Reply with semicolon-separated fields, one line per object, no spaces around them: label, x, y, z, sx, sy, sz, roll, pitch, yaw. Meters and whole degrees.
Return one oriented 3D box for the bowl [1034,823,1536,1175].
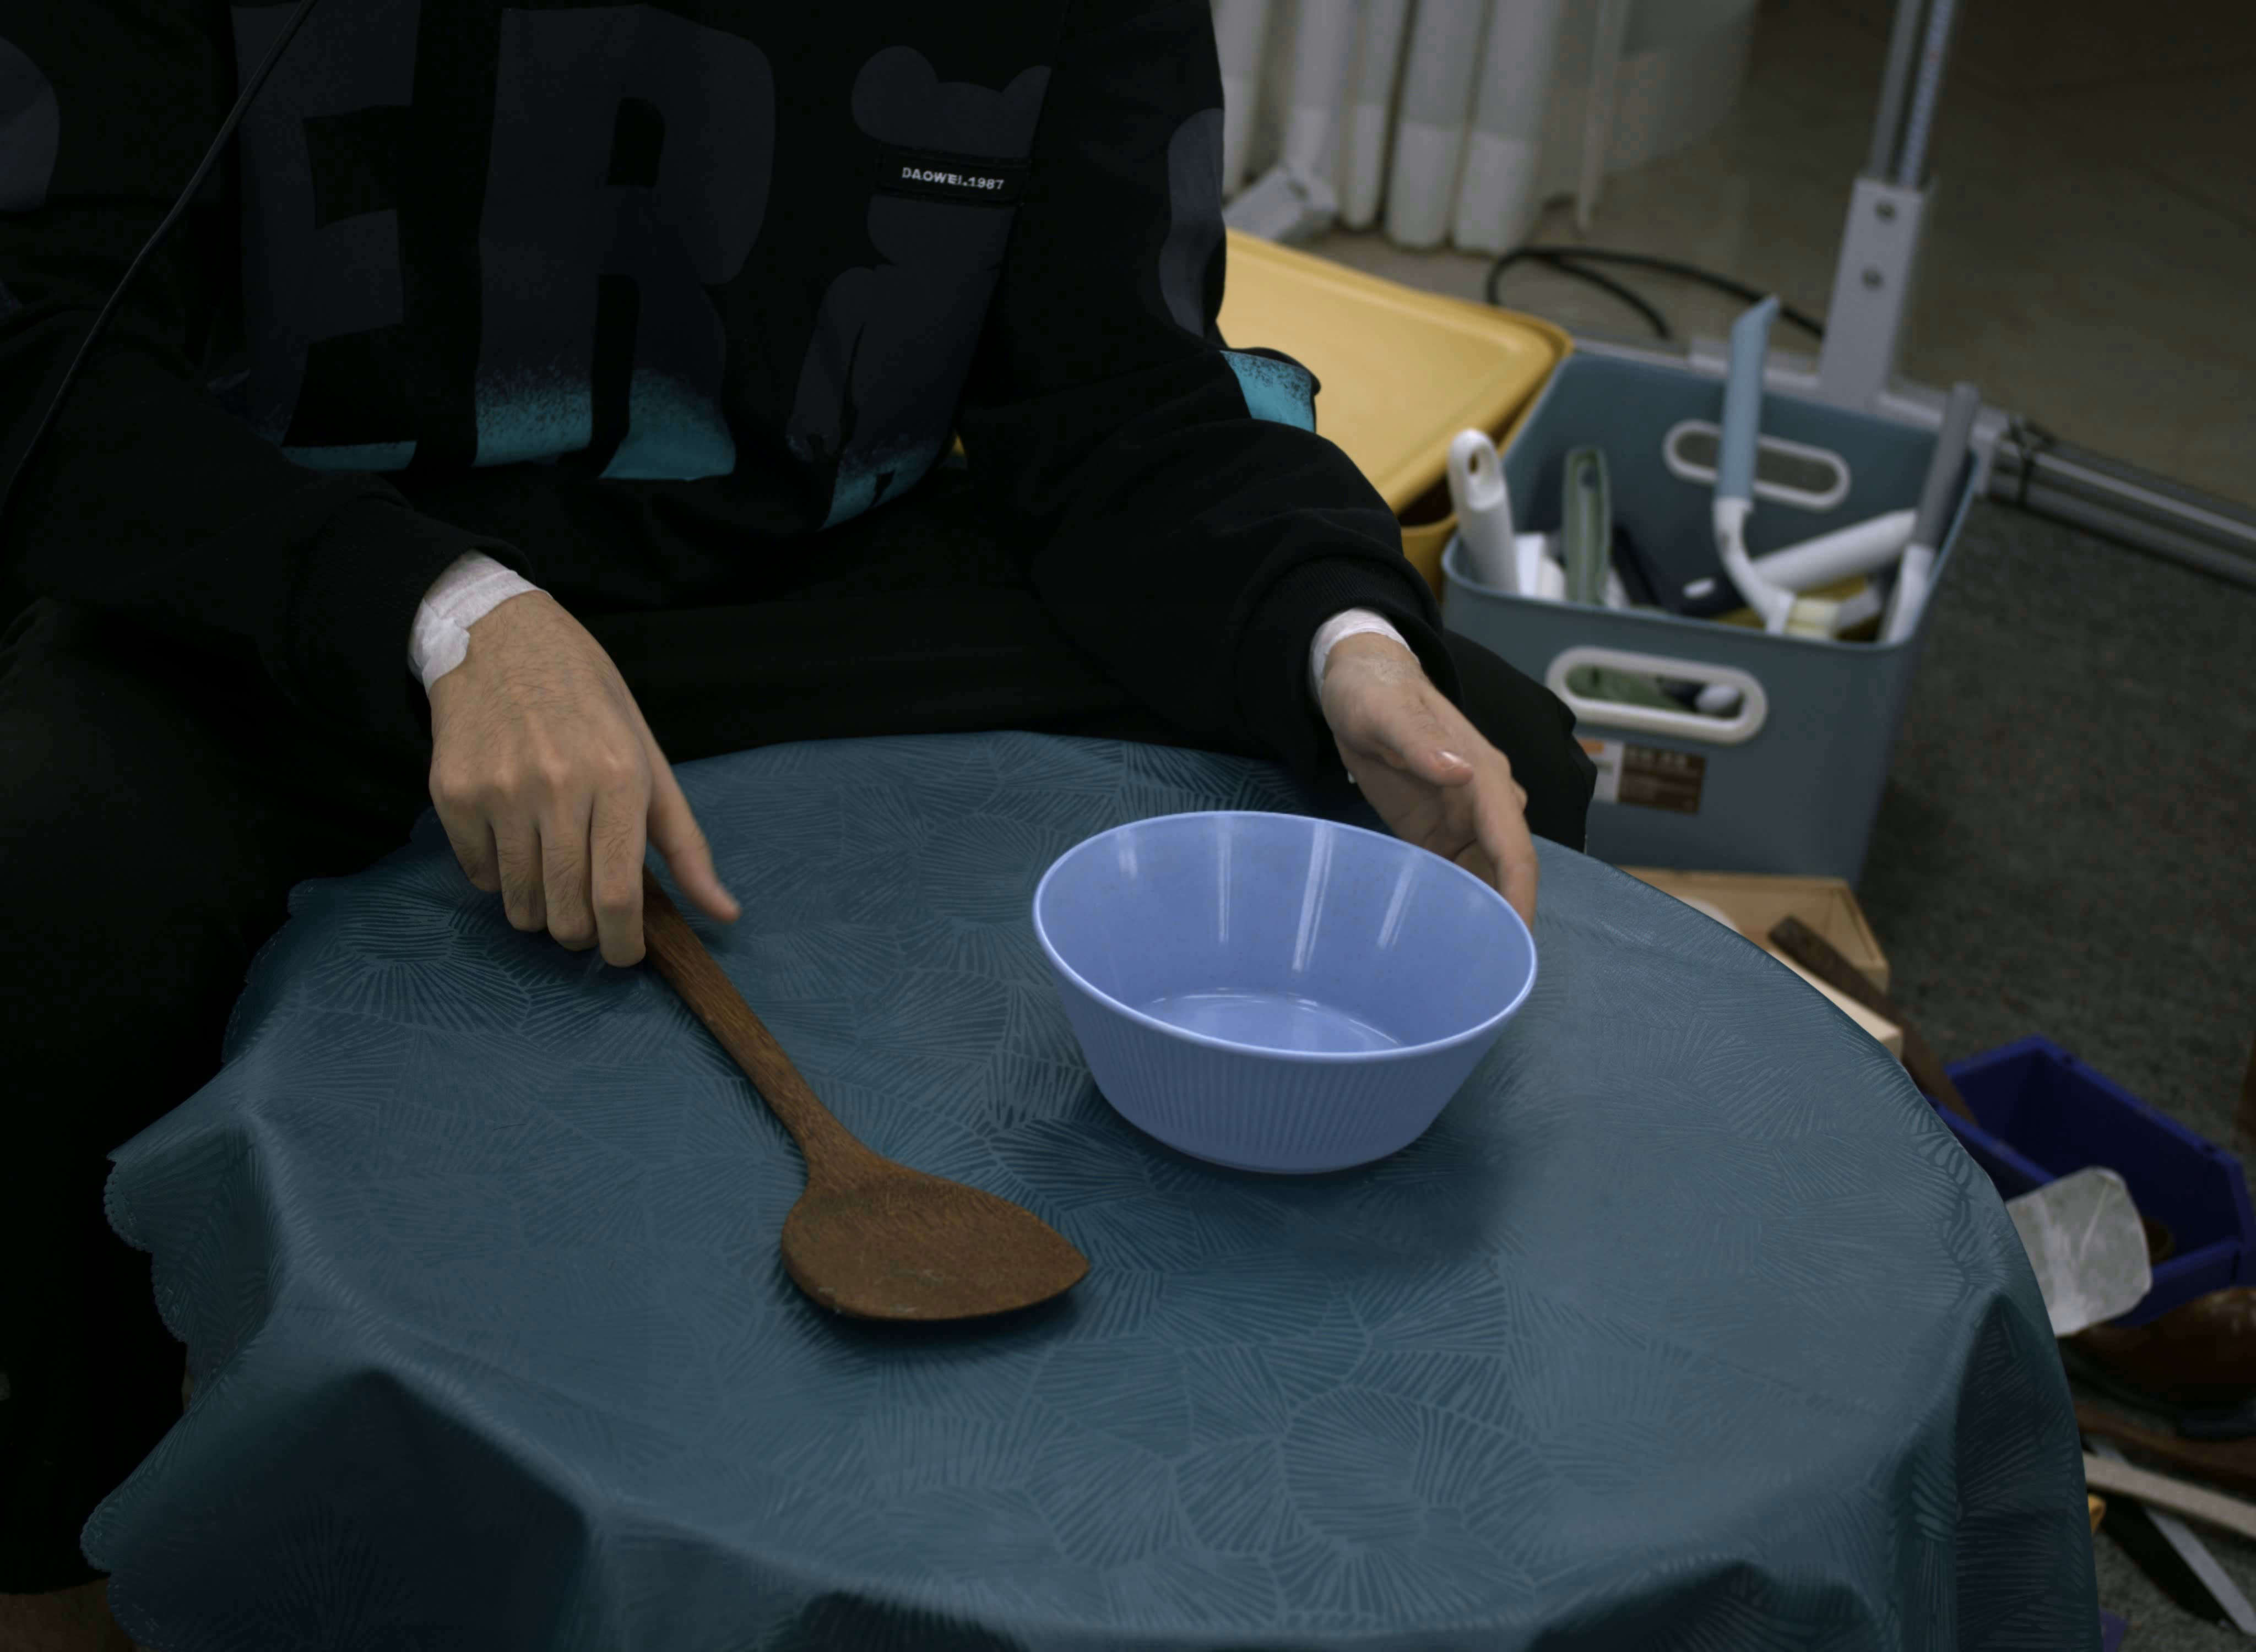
bowl;0.051;0.066;1.850;0.175;0.070;0.177;5;25;-3

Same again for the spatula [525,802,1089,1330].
spatula;-0.133;0.075;1.852;0.095;0.016;0.389;-7;29;-26
